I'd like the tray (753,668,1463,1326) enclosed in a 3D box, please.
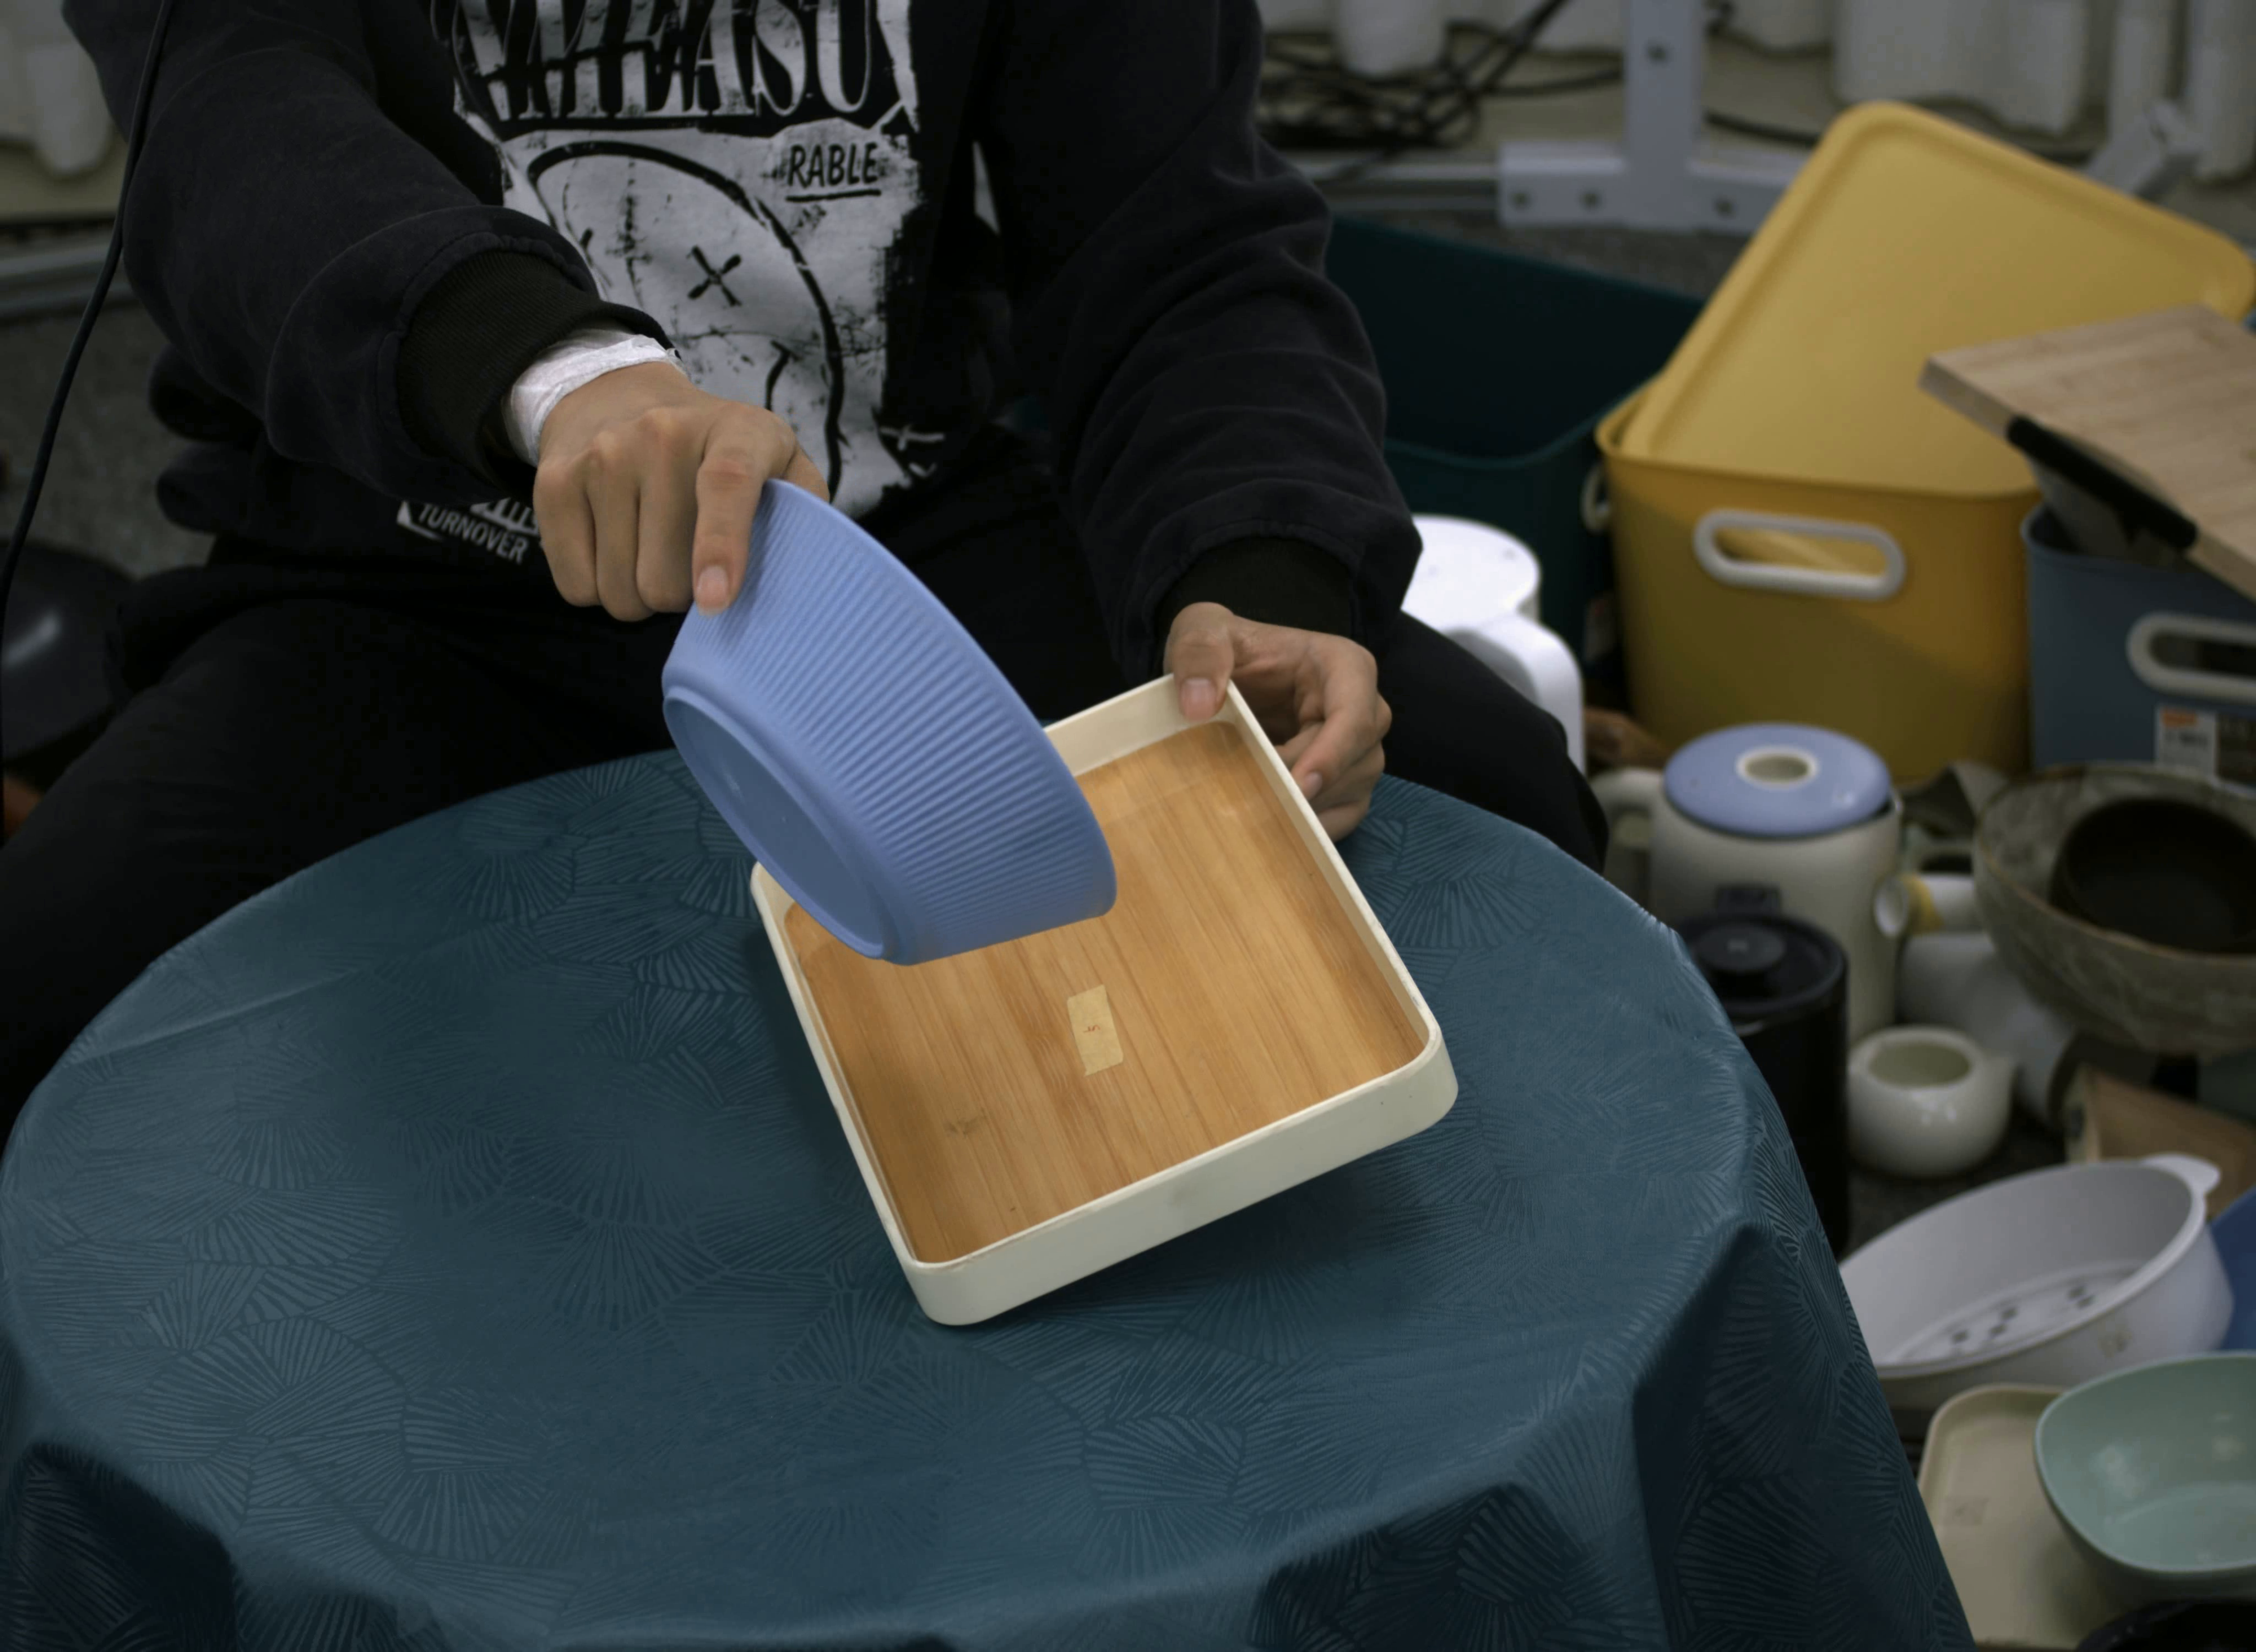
[{"bbox_3d":[-0.013,0.052,1.916,0.191,0.027,0.303,-23,30,-3],"label":"tray"}]

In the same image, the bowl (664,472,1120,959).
[{"bbox_3d":[-0.085,-0.023,1.774,0.071,0.174,0.176,-40,40,-16],"label":"bowl"}]
